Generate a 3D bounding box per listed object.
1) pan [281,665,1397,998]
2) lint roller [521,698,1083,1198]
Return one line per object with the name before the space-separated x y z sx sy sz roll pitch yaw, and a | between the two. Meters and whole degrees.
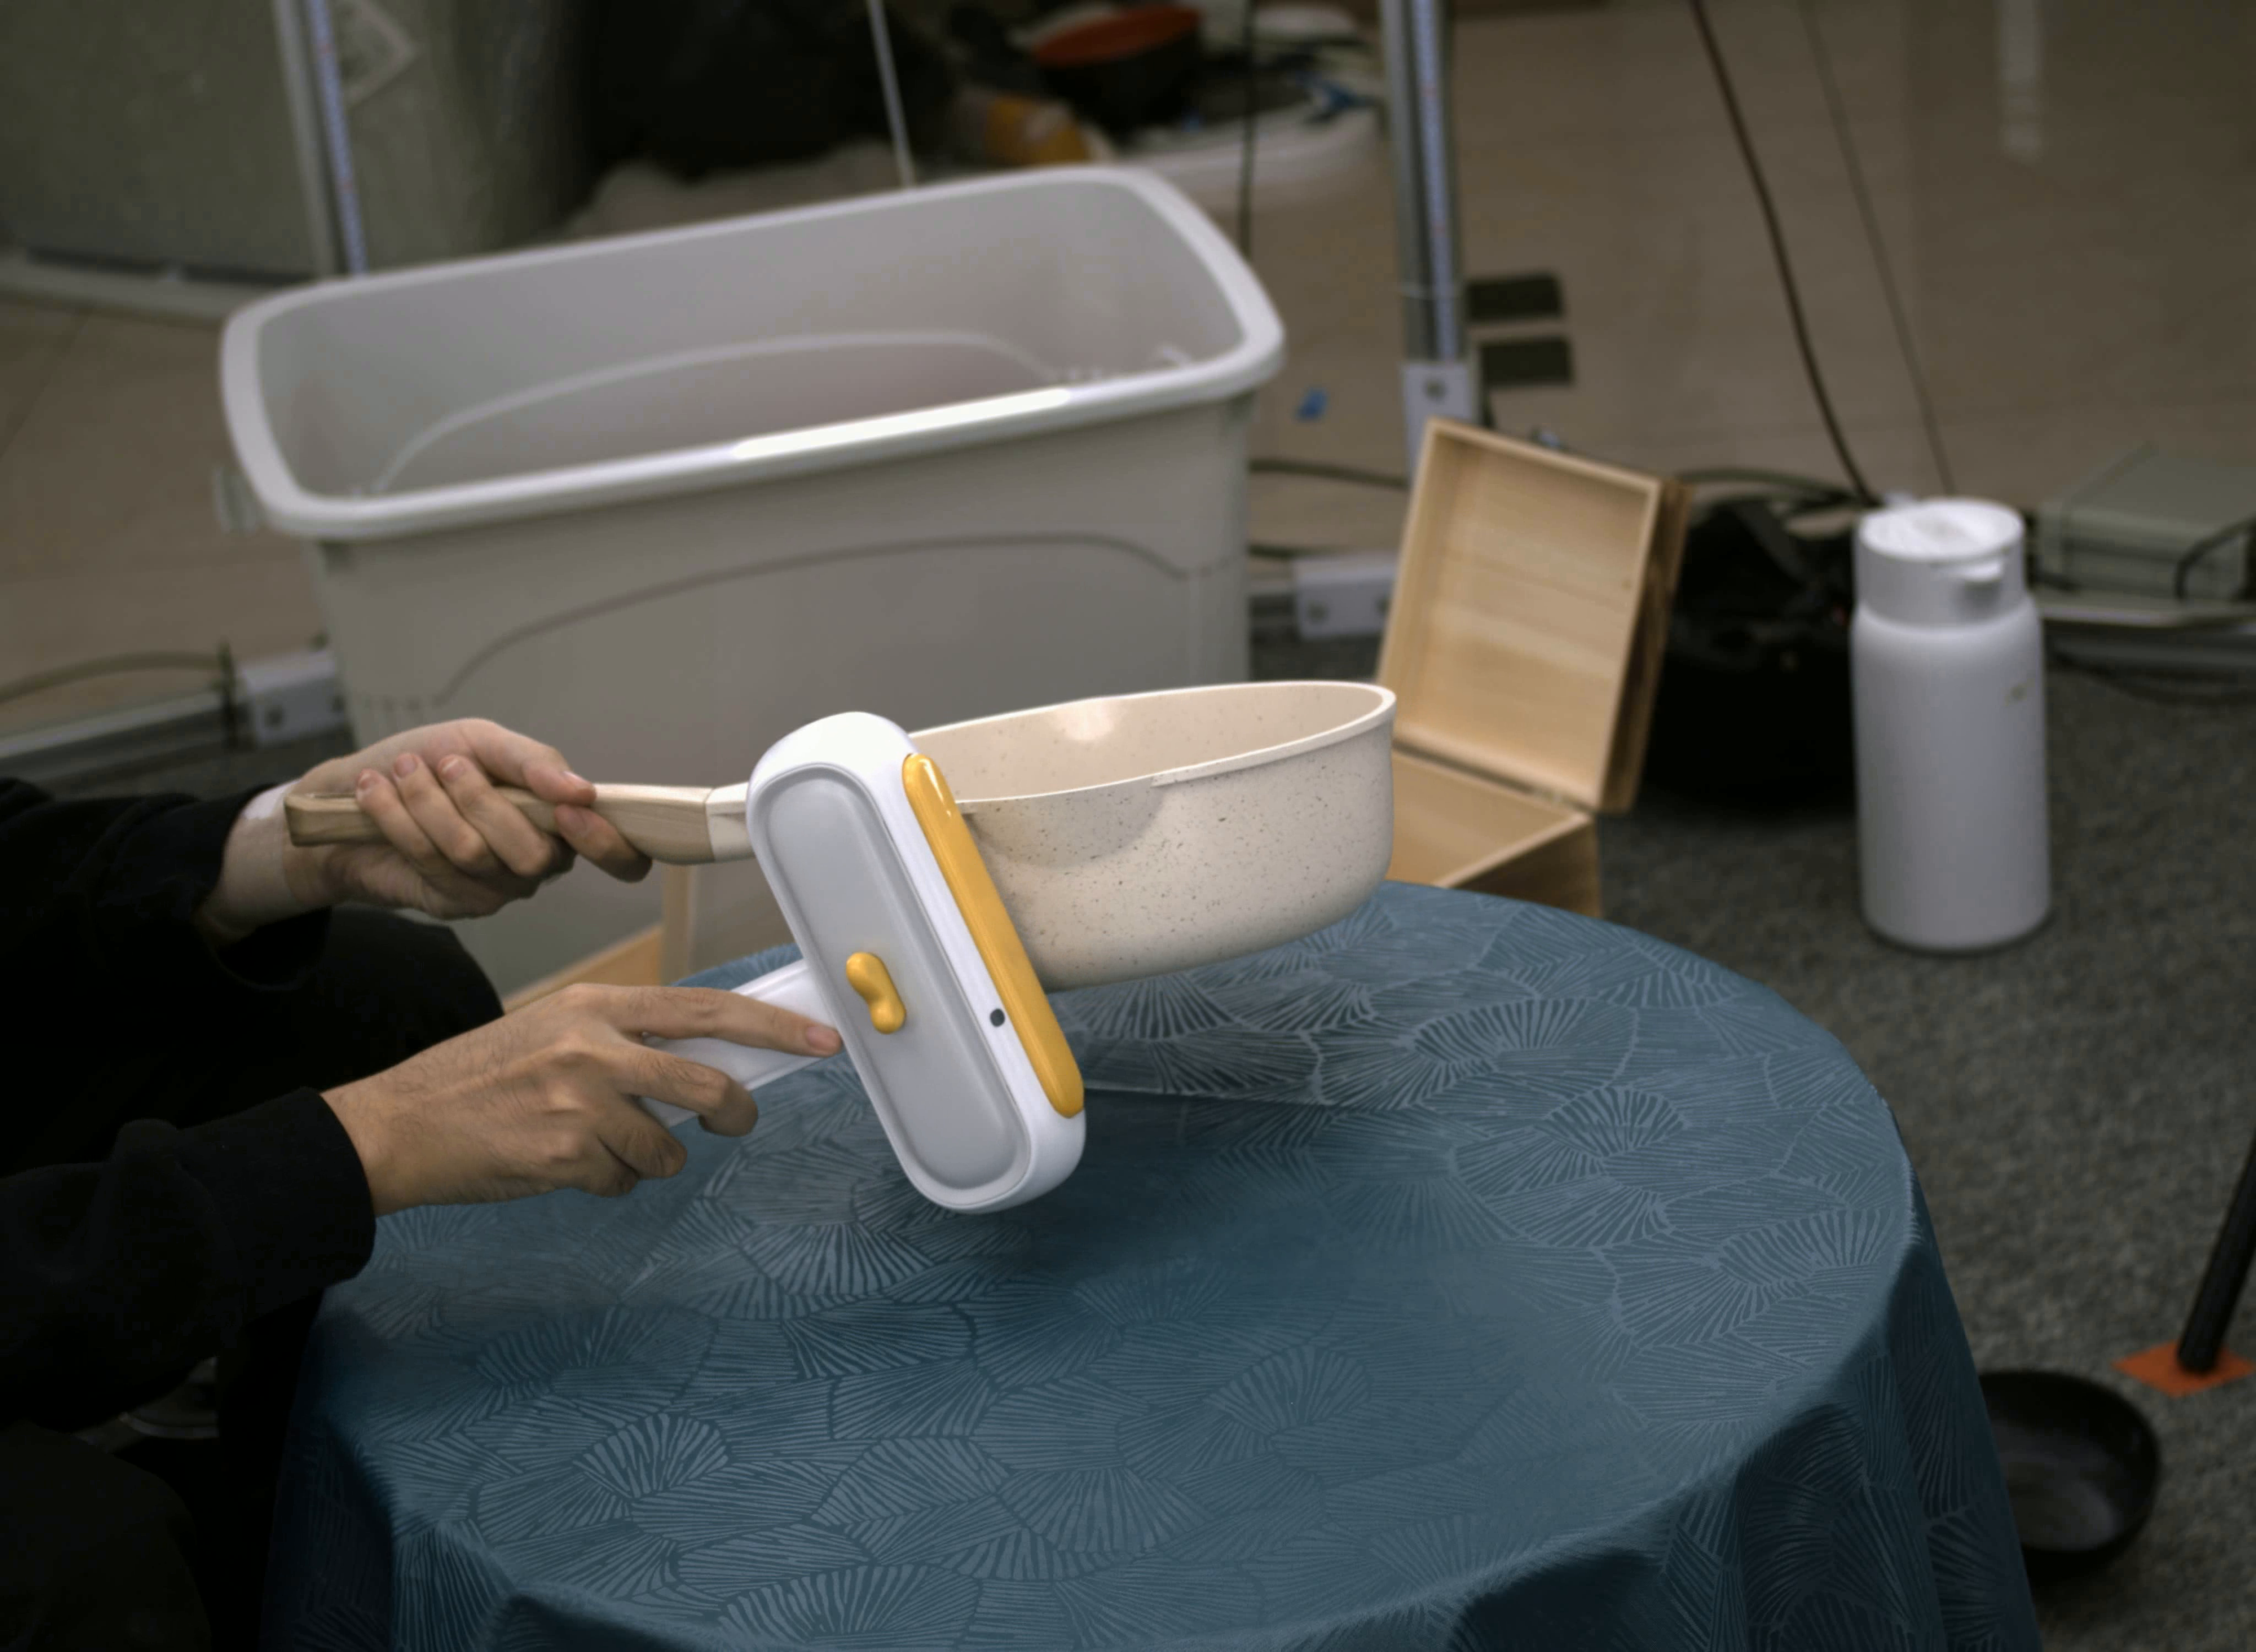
pan | -0.106 0.011 2.199 0.434 0.103 0.261 -8 11 3
lint roller | -0.133 0.072 2.075 0.193 0.194 0.073 -26 12 17
